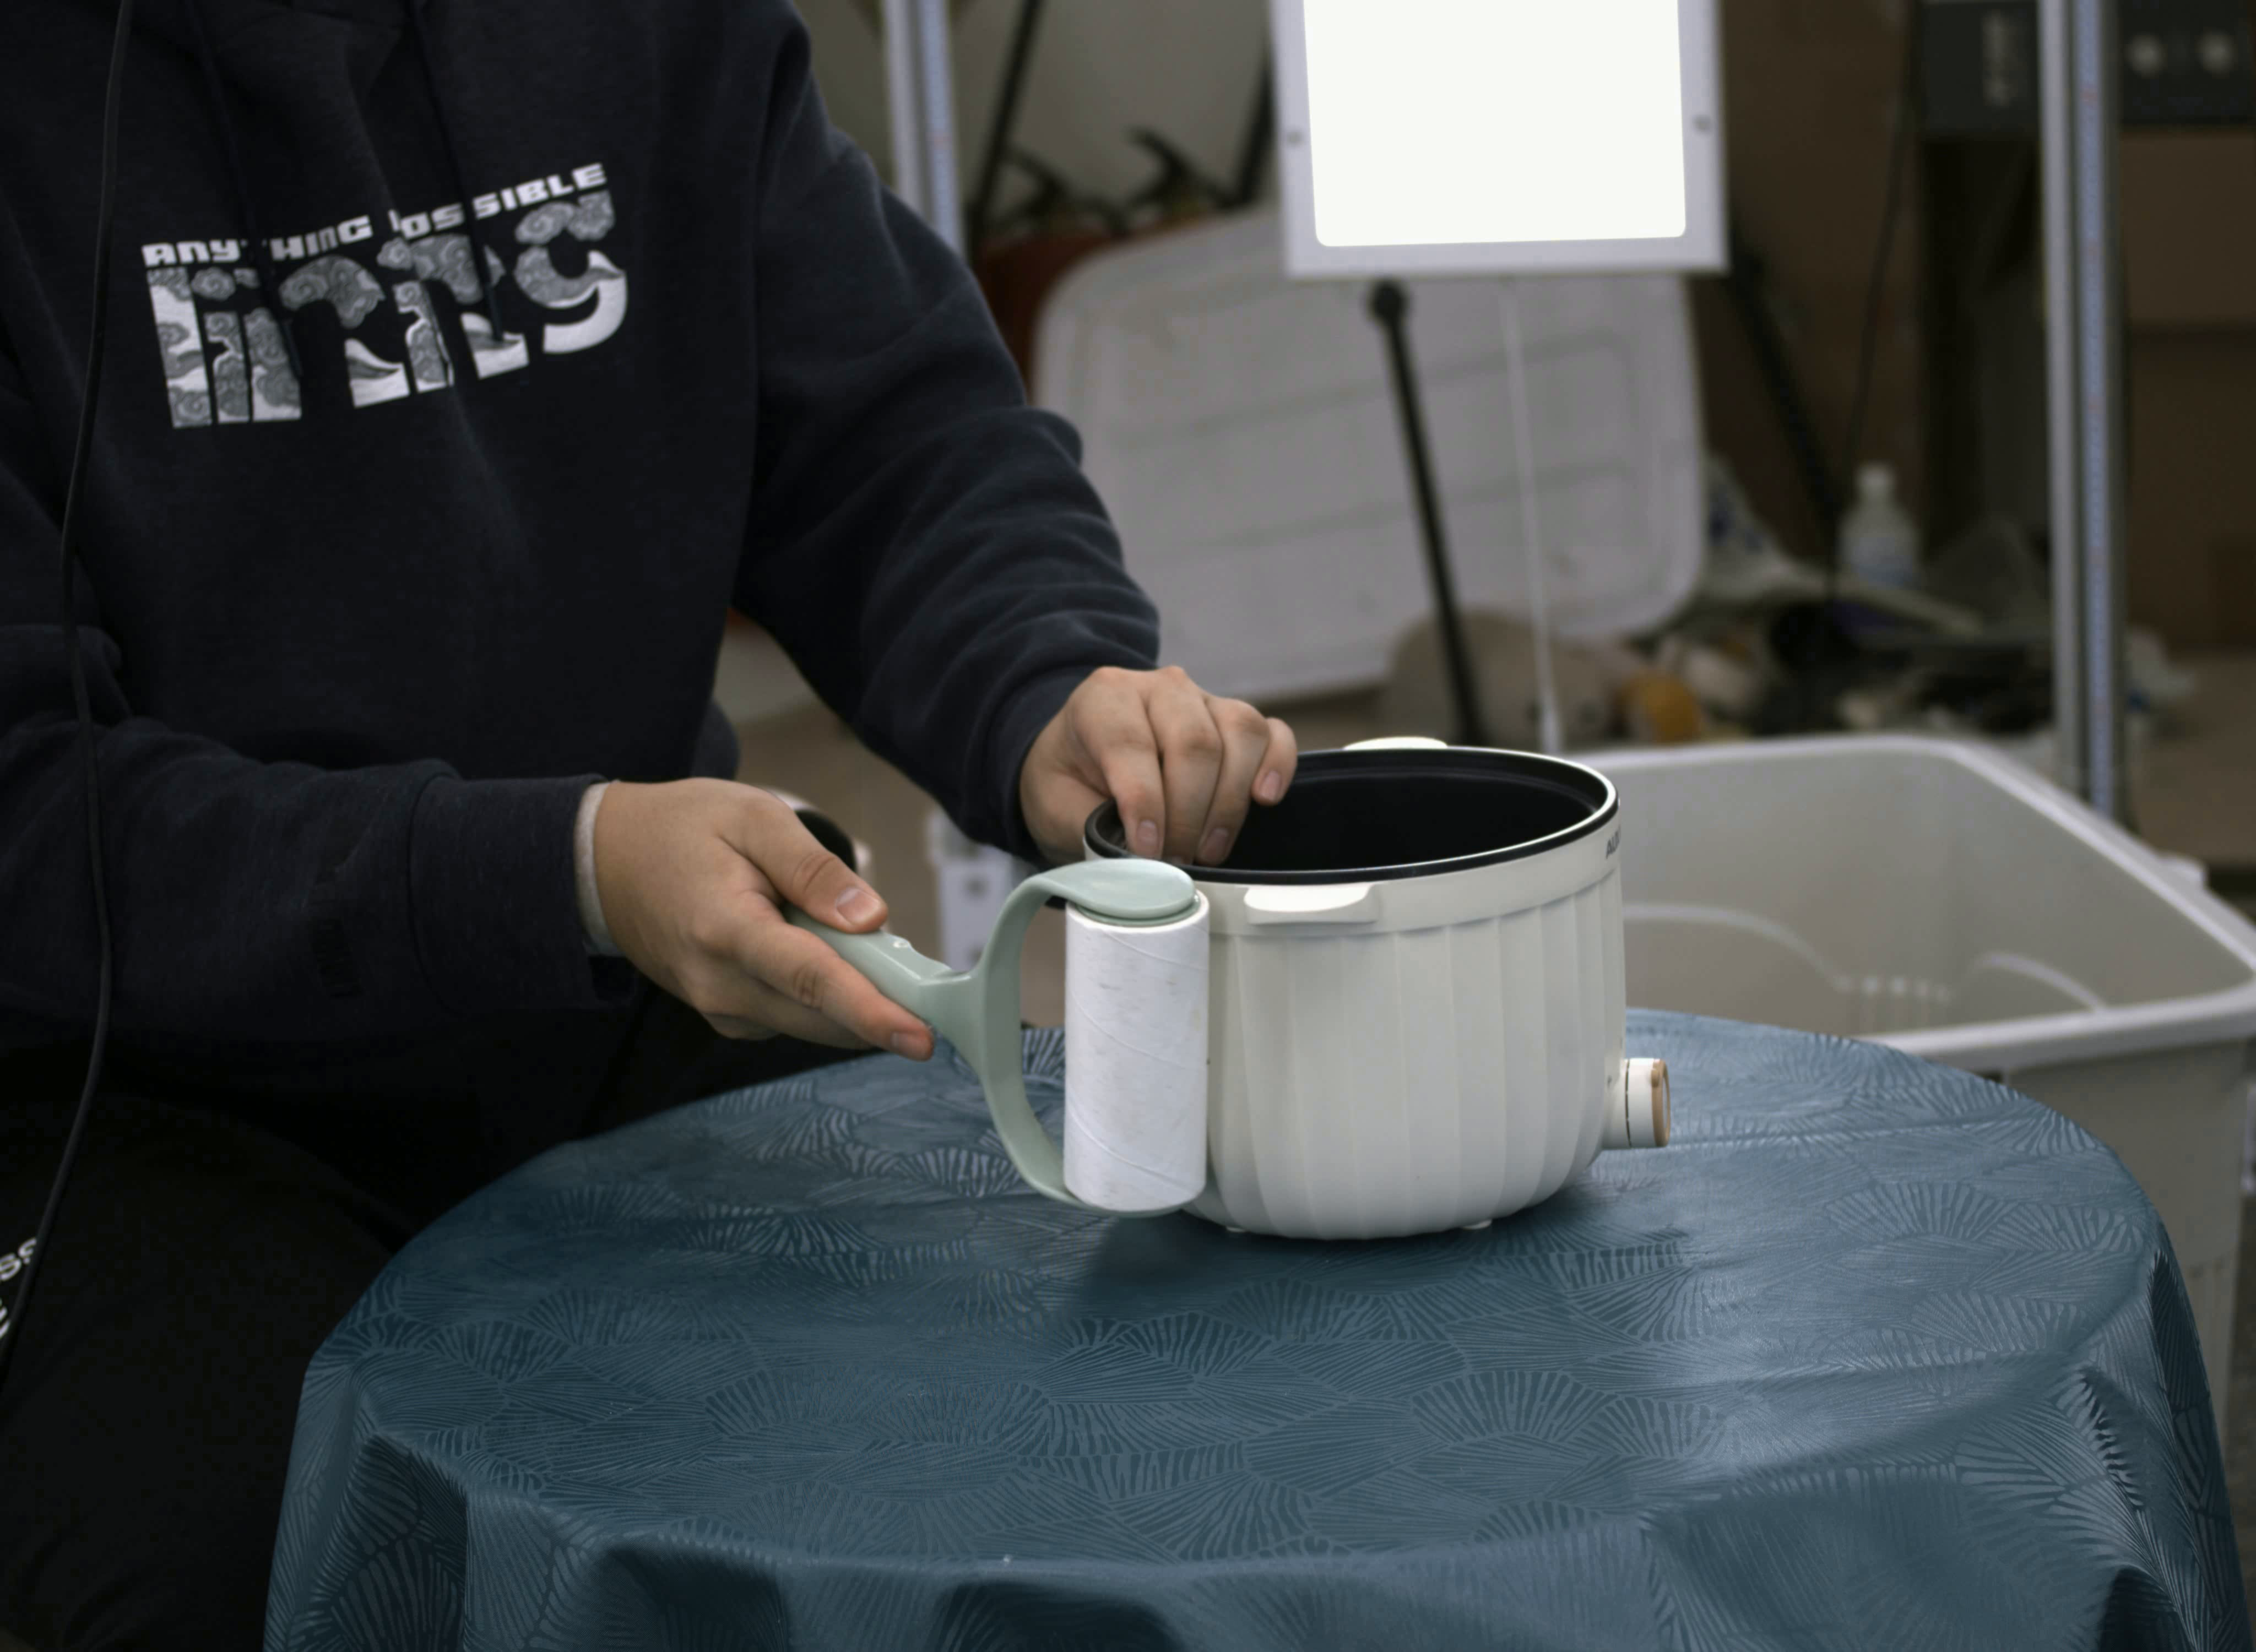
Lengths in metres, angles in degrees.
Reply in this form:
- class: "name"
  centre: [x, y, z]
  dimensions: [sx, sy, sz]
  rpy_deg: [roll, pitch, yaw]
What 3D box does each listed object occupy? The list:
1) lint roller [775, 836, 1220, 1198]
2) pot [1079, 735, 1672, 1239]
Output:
- class: "lint roller"
  centre: [-0.052, 0.046, 1.827]
  dimensions: [0.201, 0.117, 0.047]
  rpy_deg: [16, 30, 38]
- class: "pot"
  centre: [0.085, 0.056, 1.863]
  dimensions: [0.192, 0.143, 0.237]
  rpy_deg: [-5, 14, 13]
